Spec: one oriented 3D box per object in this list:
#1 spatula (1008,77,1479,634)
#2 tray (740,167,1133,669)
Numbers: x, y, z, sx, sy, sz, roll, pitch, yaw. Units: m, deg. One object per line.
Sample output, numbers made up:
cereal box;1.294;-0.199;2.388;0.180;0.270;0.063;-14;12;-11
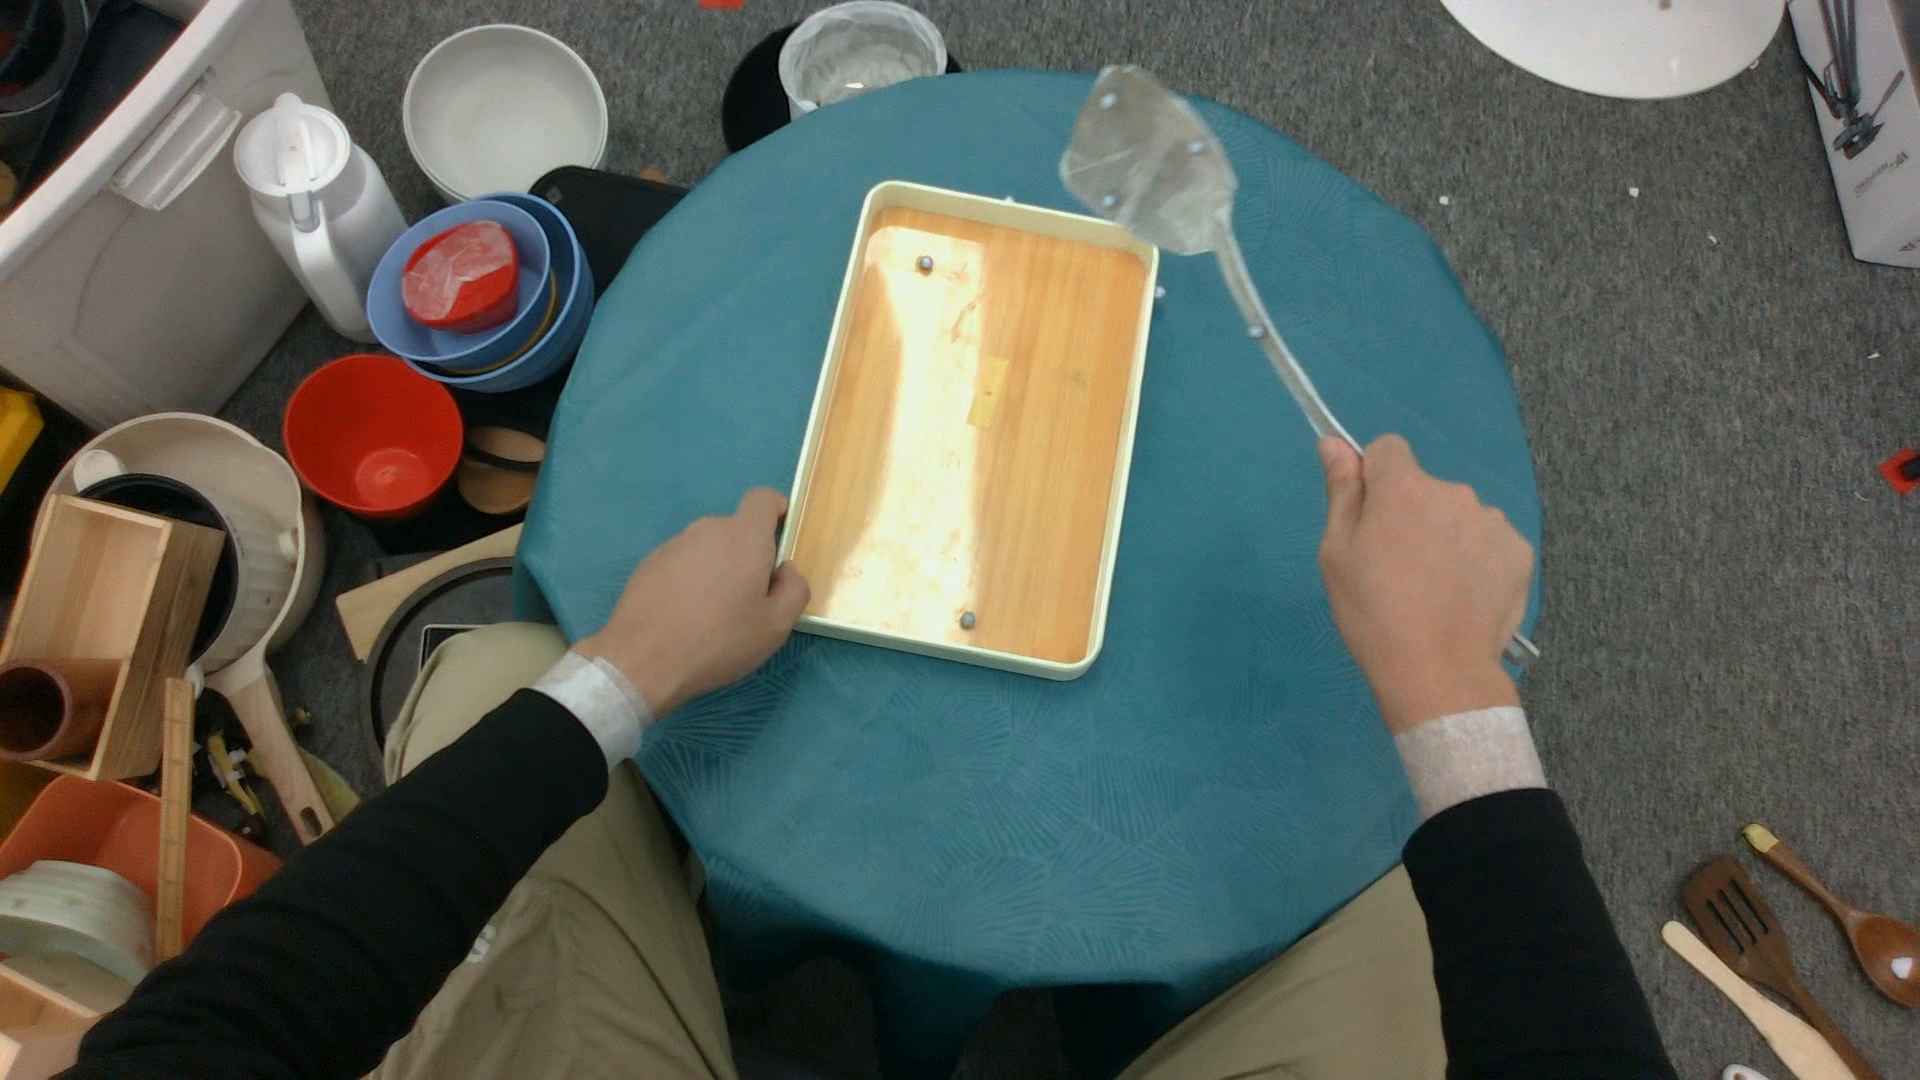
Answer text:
spatula;0.145;-0.094;0.718;0.045;0.098;0.365;-26;71;-24
tray;-0.007;-0.081;0.827;0.191;0.027;0.301;11;68;-1
